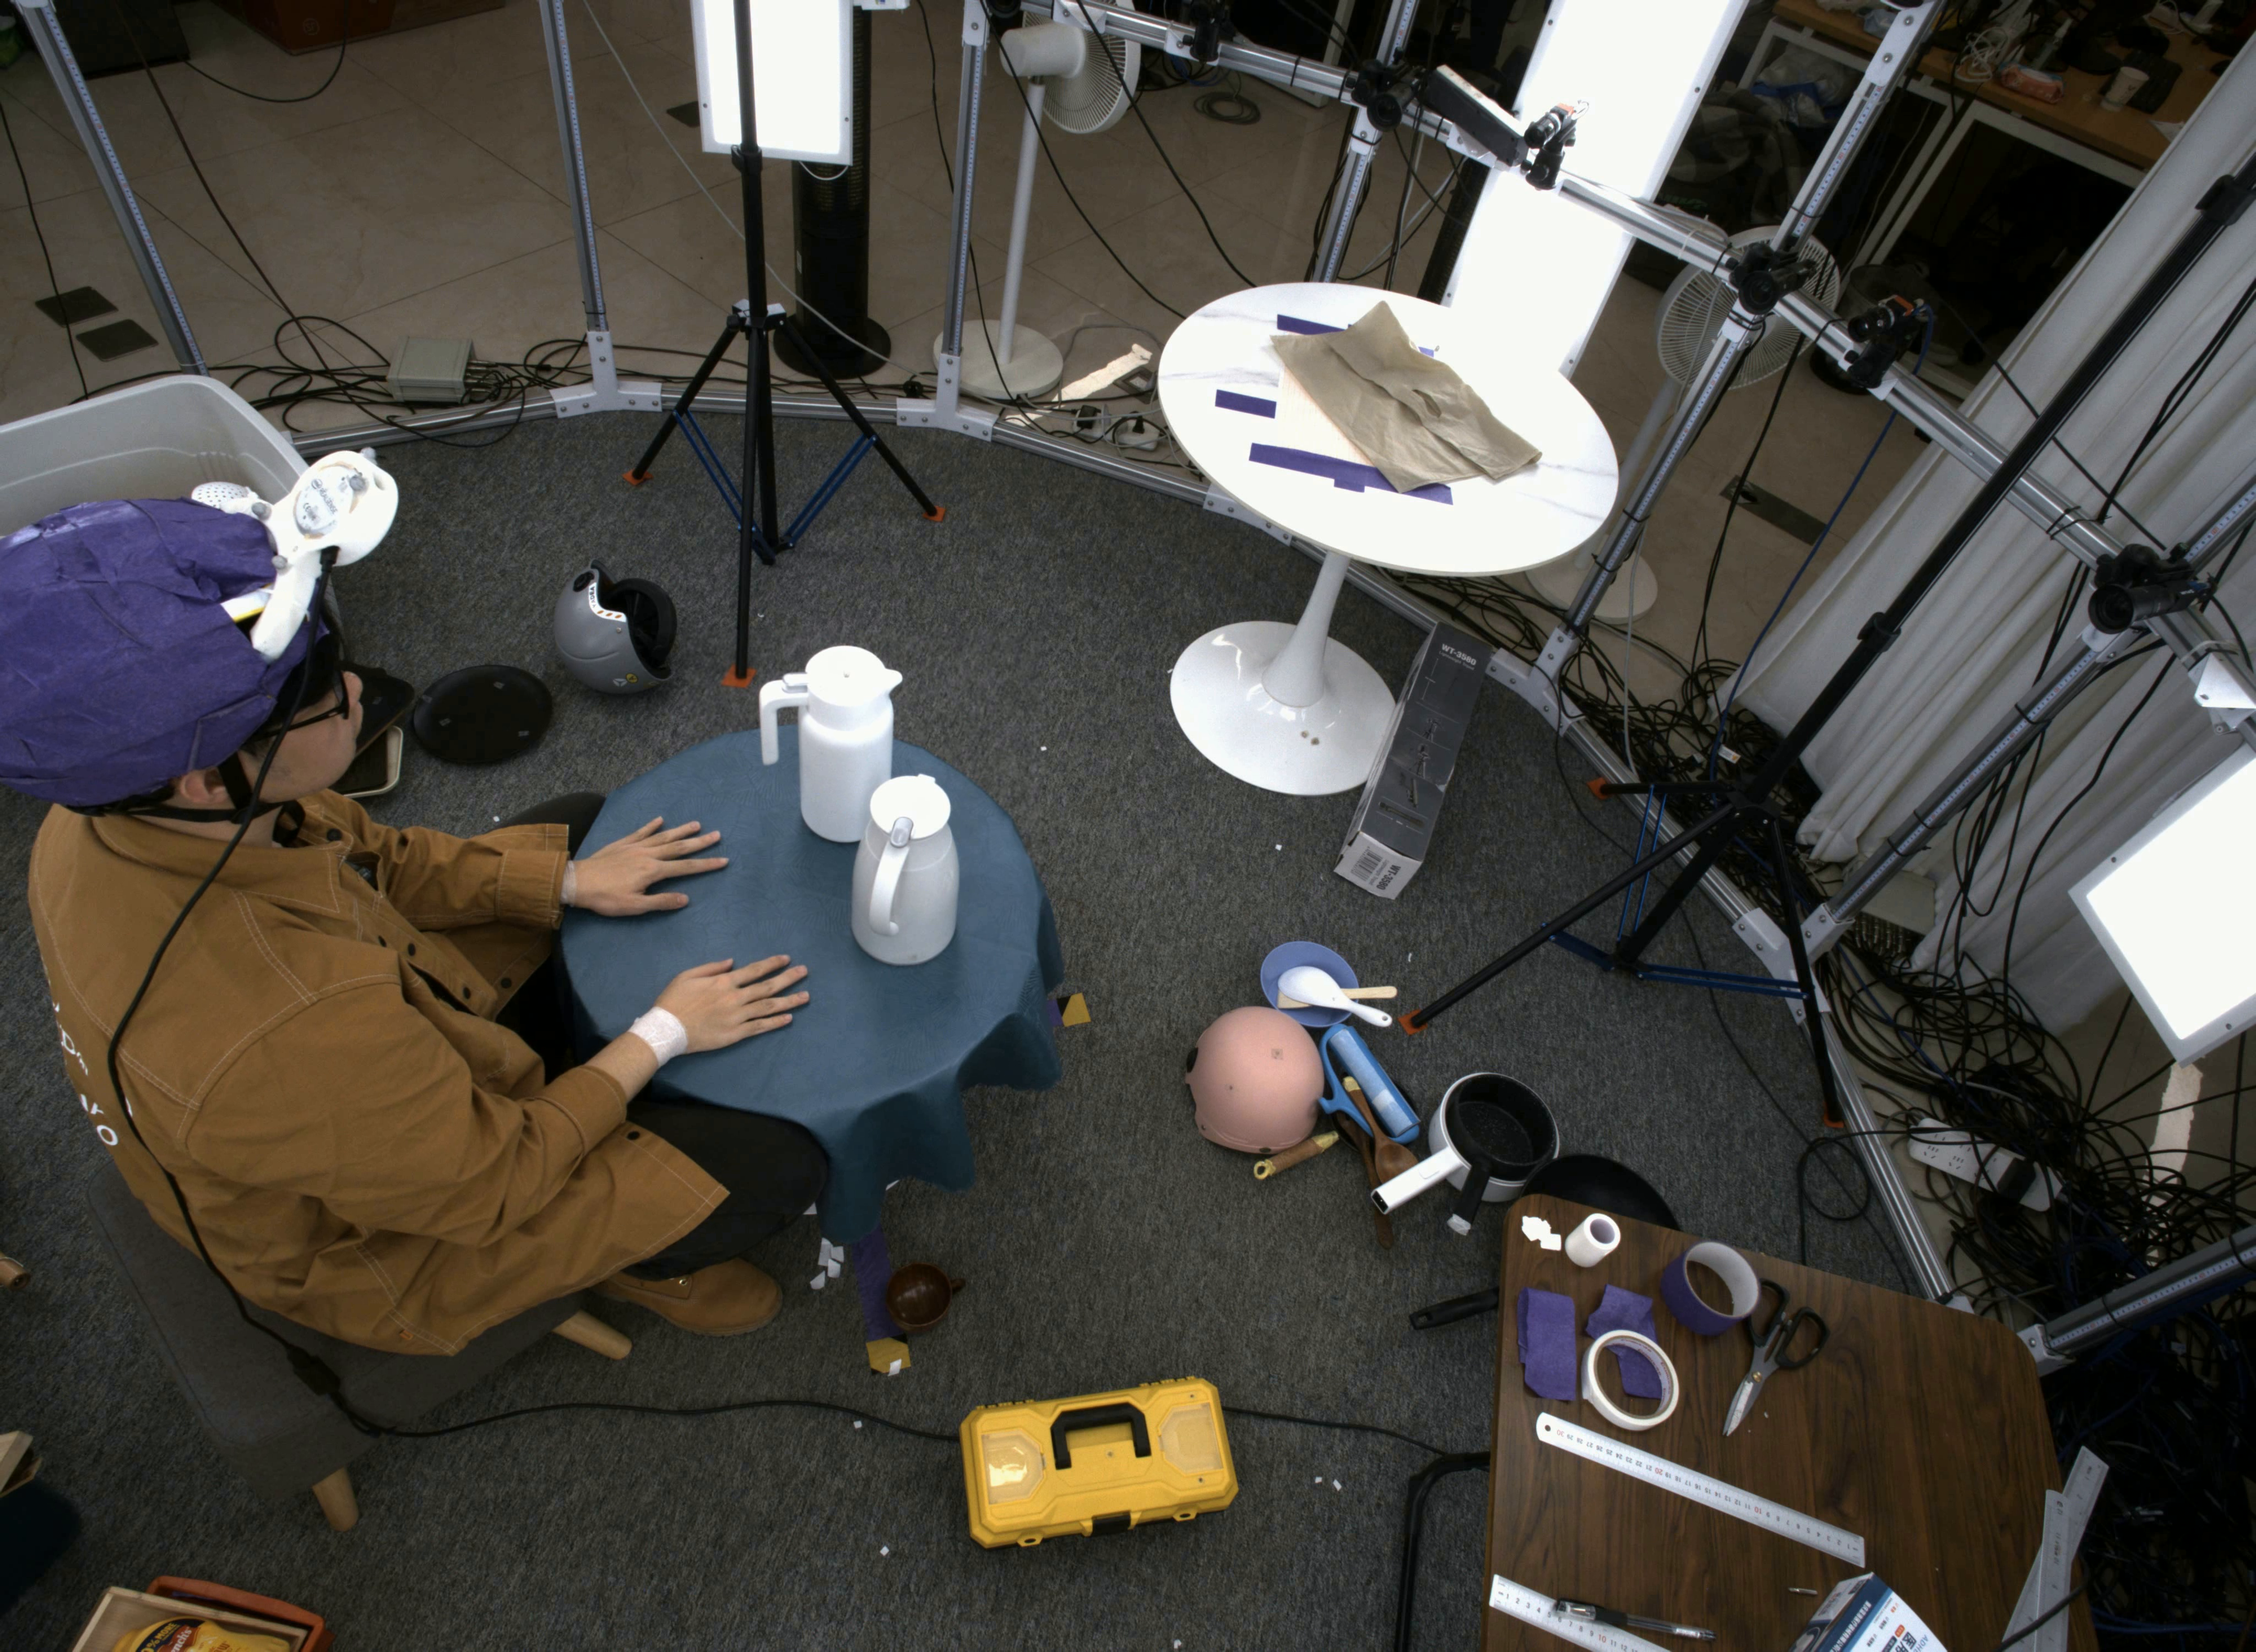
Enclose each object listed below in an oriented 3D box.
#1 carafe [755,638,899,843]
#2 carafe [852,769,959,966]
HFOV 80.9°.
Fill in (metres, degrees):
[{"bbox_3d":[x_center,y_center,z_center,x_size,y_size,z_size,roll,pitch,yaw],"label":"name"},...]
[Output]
[{"bbox_3d":[-0.377,-0.102,1.637,0.173,0.274,0.121,-8,56,-17],"label":"carafe"},{"bbox_3d":[-0.271,0.059,1.556,0.131,0.254,0.165,15,52,0],"label":"carafe"}]
